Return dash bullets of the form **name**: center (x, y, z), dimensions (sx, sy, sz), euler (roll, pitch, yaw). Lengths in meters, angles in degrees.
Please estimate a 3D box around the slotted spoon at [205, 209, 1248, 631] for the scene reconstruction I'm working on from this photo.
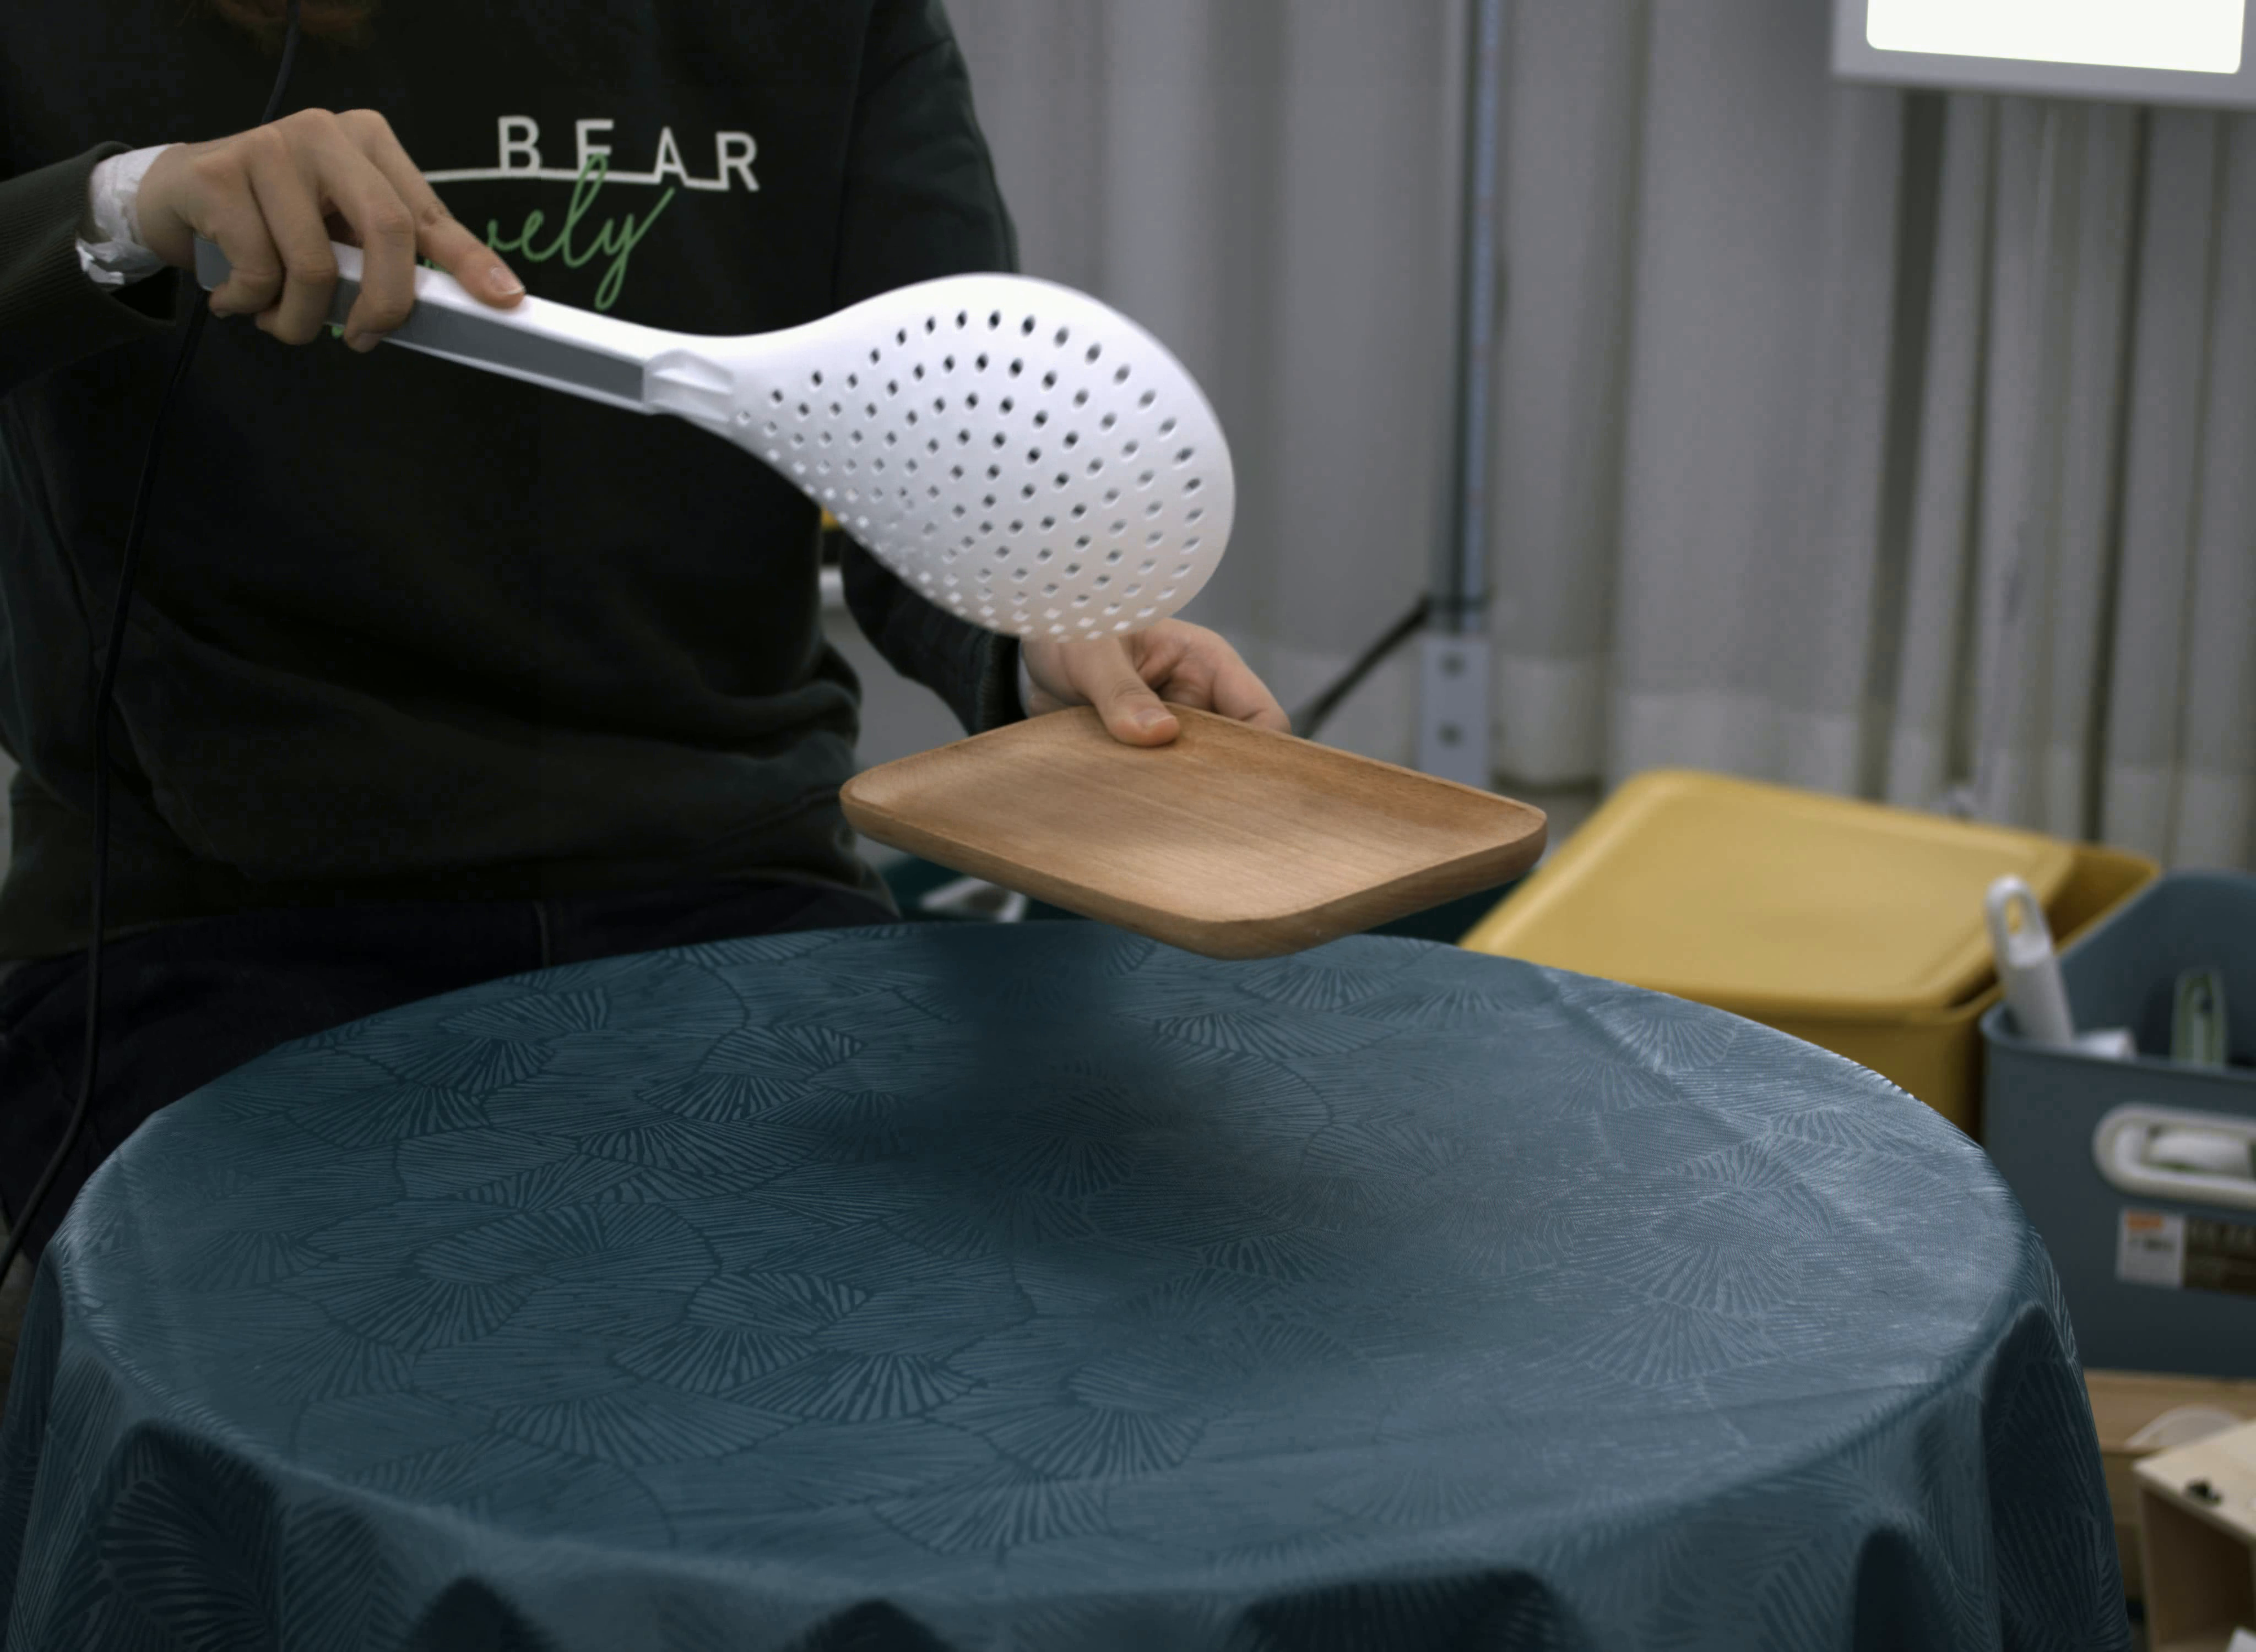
- **slotted spoon**: center (-0.132, -0.143, 1.666), dimensions (0.347, 0.137, 0.045), euler (18, 40, 14)

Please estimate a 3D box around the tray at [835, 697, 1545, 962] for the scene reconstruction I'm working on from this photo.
- **tray**: center (0.015, -0.001, 1.626), dimensions (0.131, 0.023, 0.247), euler (-15, 17, -29)
